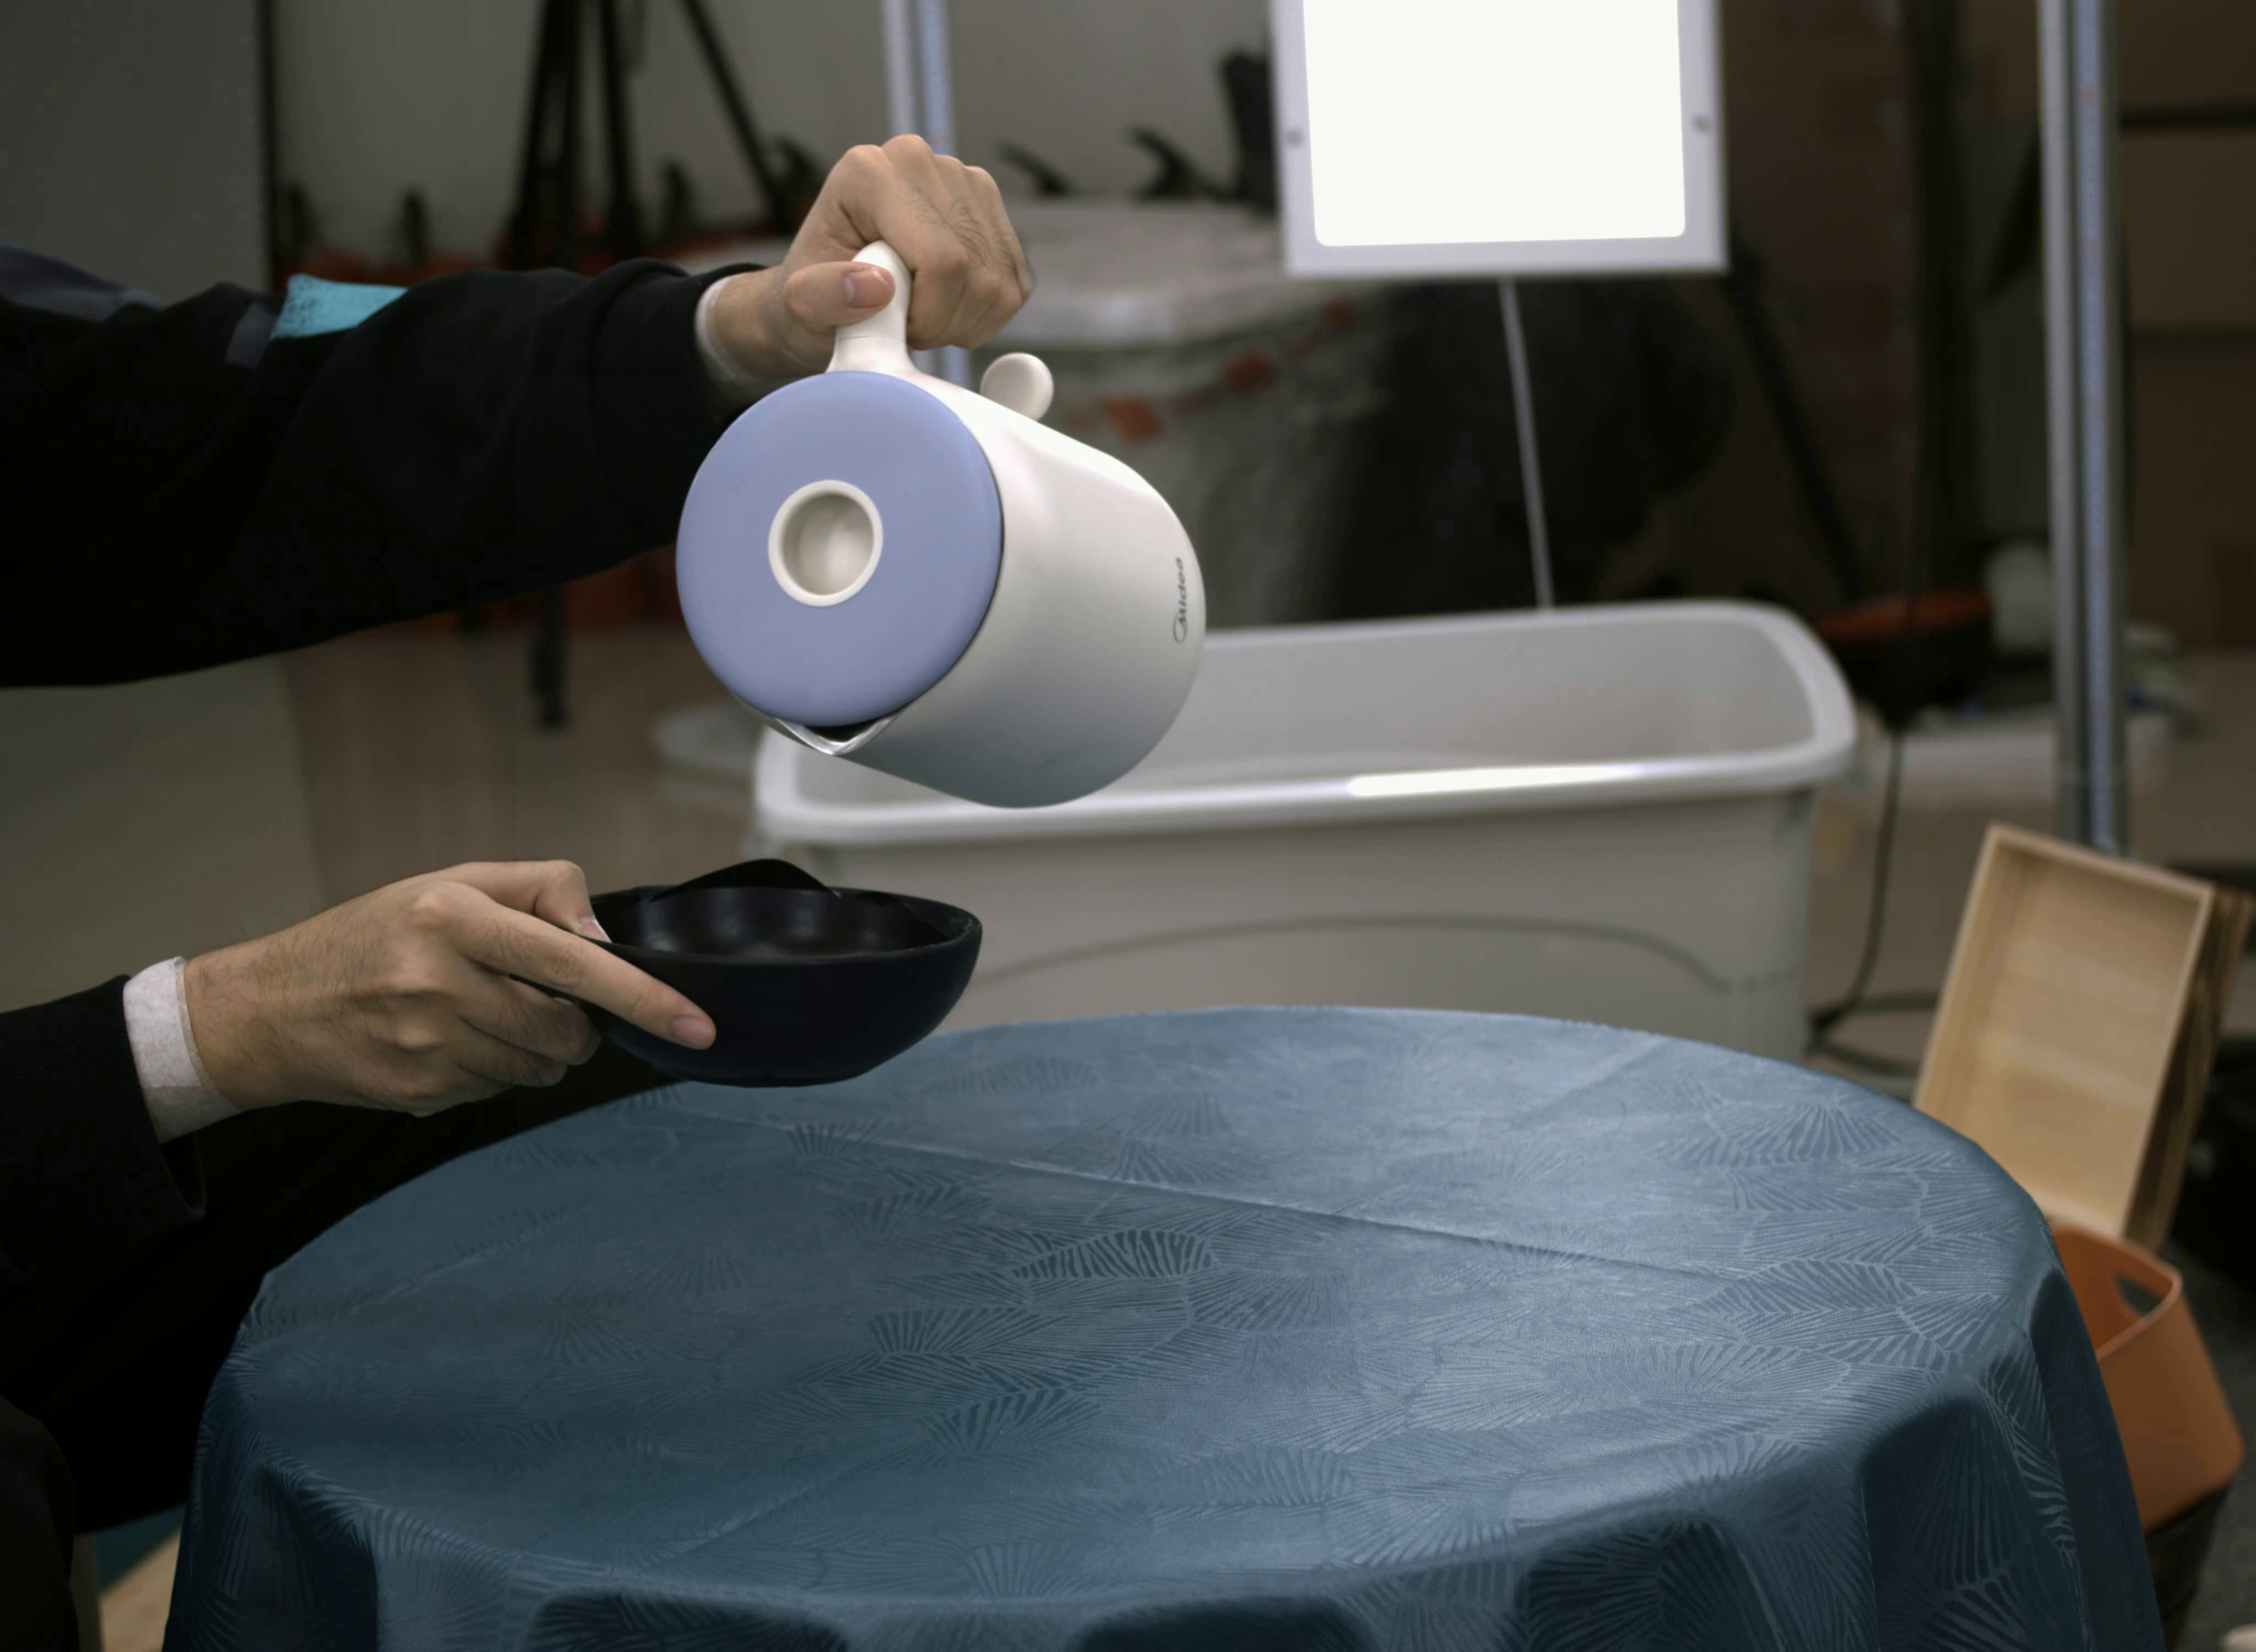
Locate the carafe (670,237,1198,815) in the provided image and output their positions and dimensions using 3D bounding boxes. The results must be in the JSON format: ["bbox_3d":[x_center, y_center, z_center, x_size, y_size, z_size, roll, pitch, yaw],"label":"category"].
[{"bbox_3d":[-0.065,-0.104,1.872,0.134,0.191,0.179,-6,-13,23],"label":"carafe"}]

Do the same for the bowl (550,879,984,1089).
[{"bbox_3d":[-0.115,0.053,1.768,0.139,0.050,0.140,-2,9,-1],"label":"bowl"}]
